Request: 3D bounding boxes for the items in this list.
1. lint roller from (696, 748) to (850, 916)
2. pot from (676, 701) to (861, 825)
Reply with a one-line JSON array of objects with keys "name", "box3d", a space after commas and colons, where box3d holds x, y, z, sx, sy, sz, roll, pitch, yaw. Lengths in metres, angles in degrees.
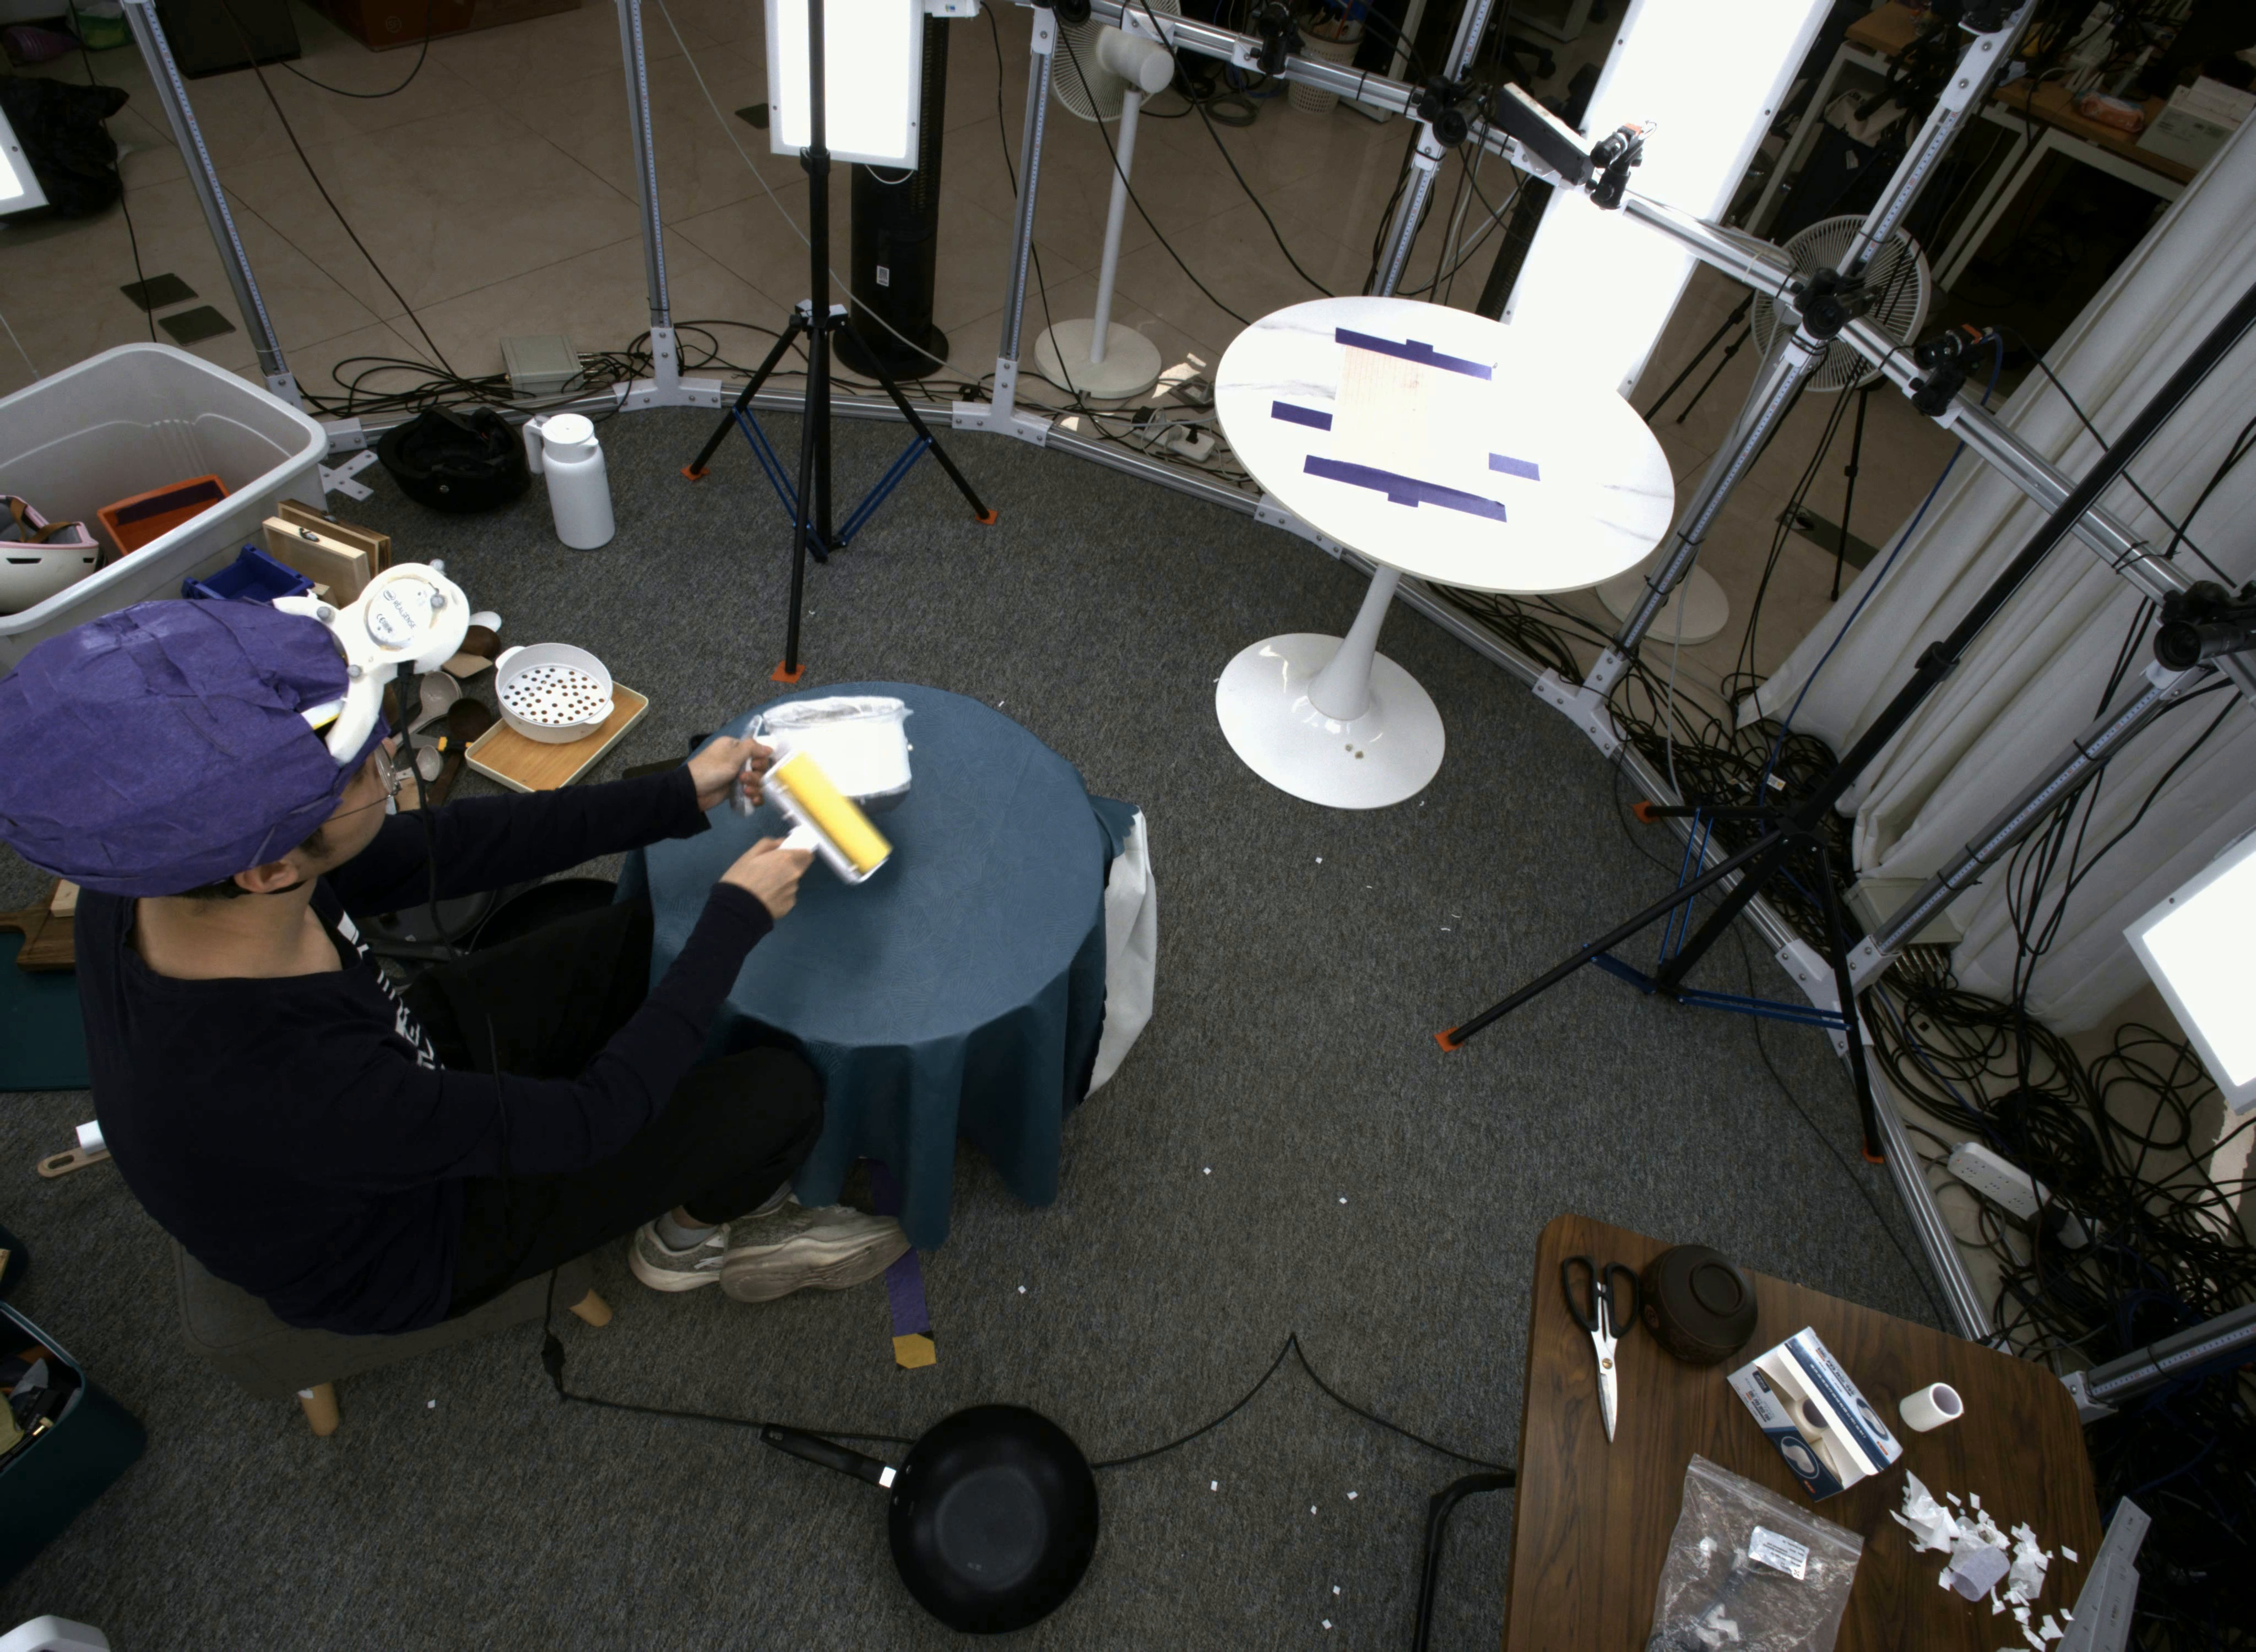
[{"name": "lint roller", "box3d": [-0.431, 0.027, 1.493, 0.179, 0.050, 0.190, 49, 42, -20]}, {"name": "pot", "box3d": [-0.451, -0.078, 1.614, 0.236, 0.140, 0.172, -12, 15, -37]}]
